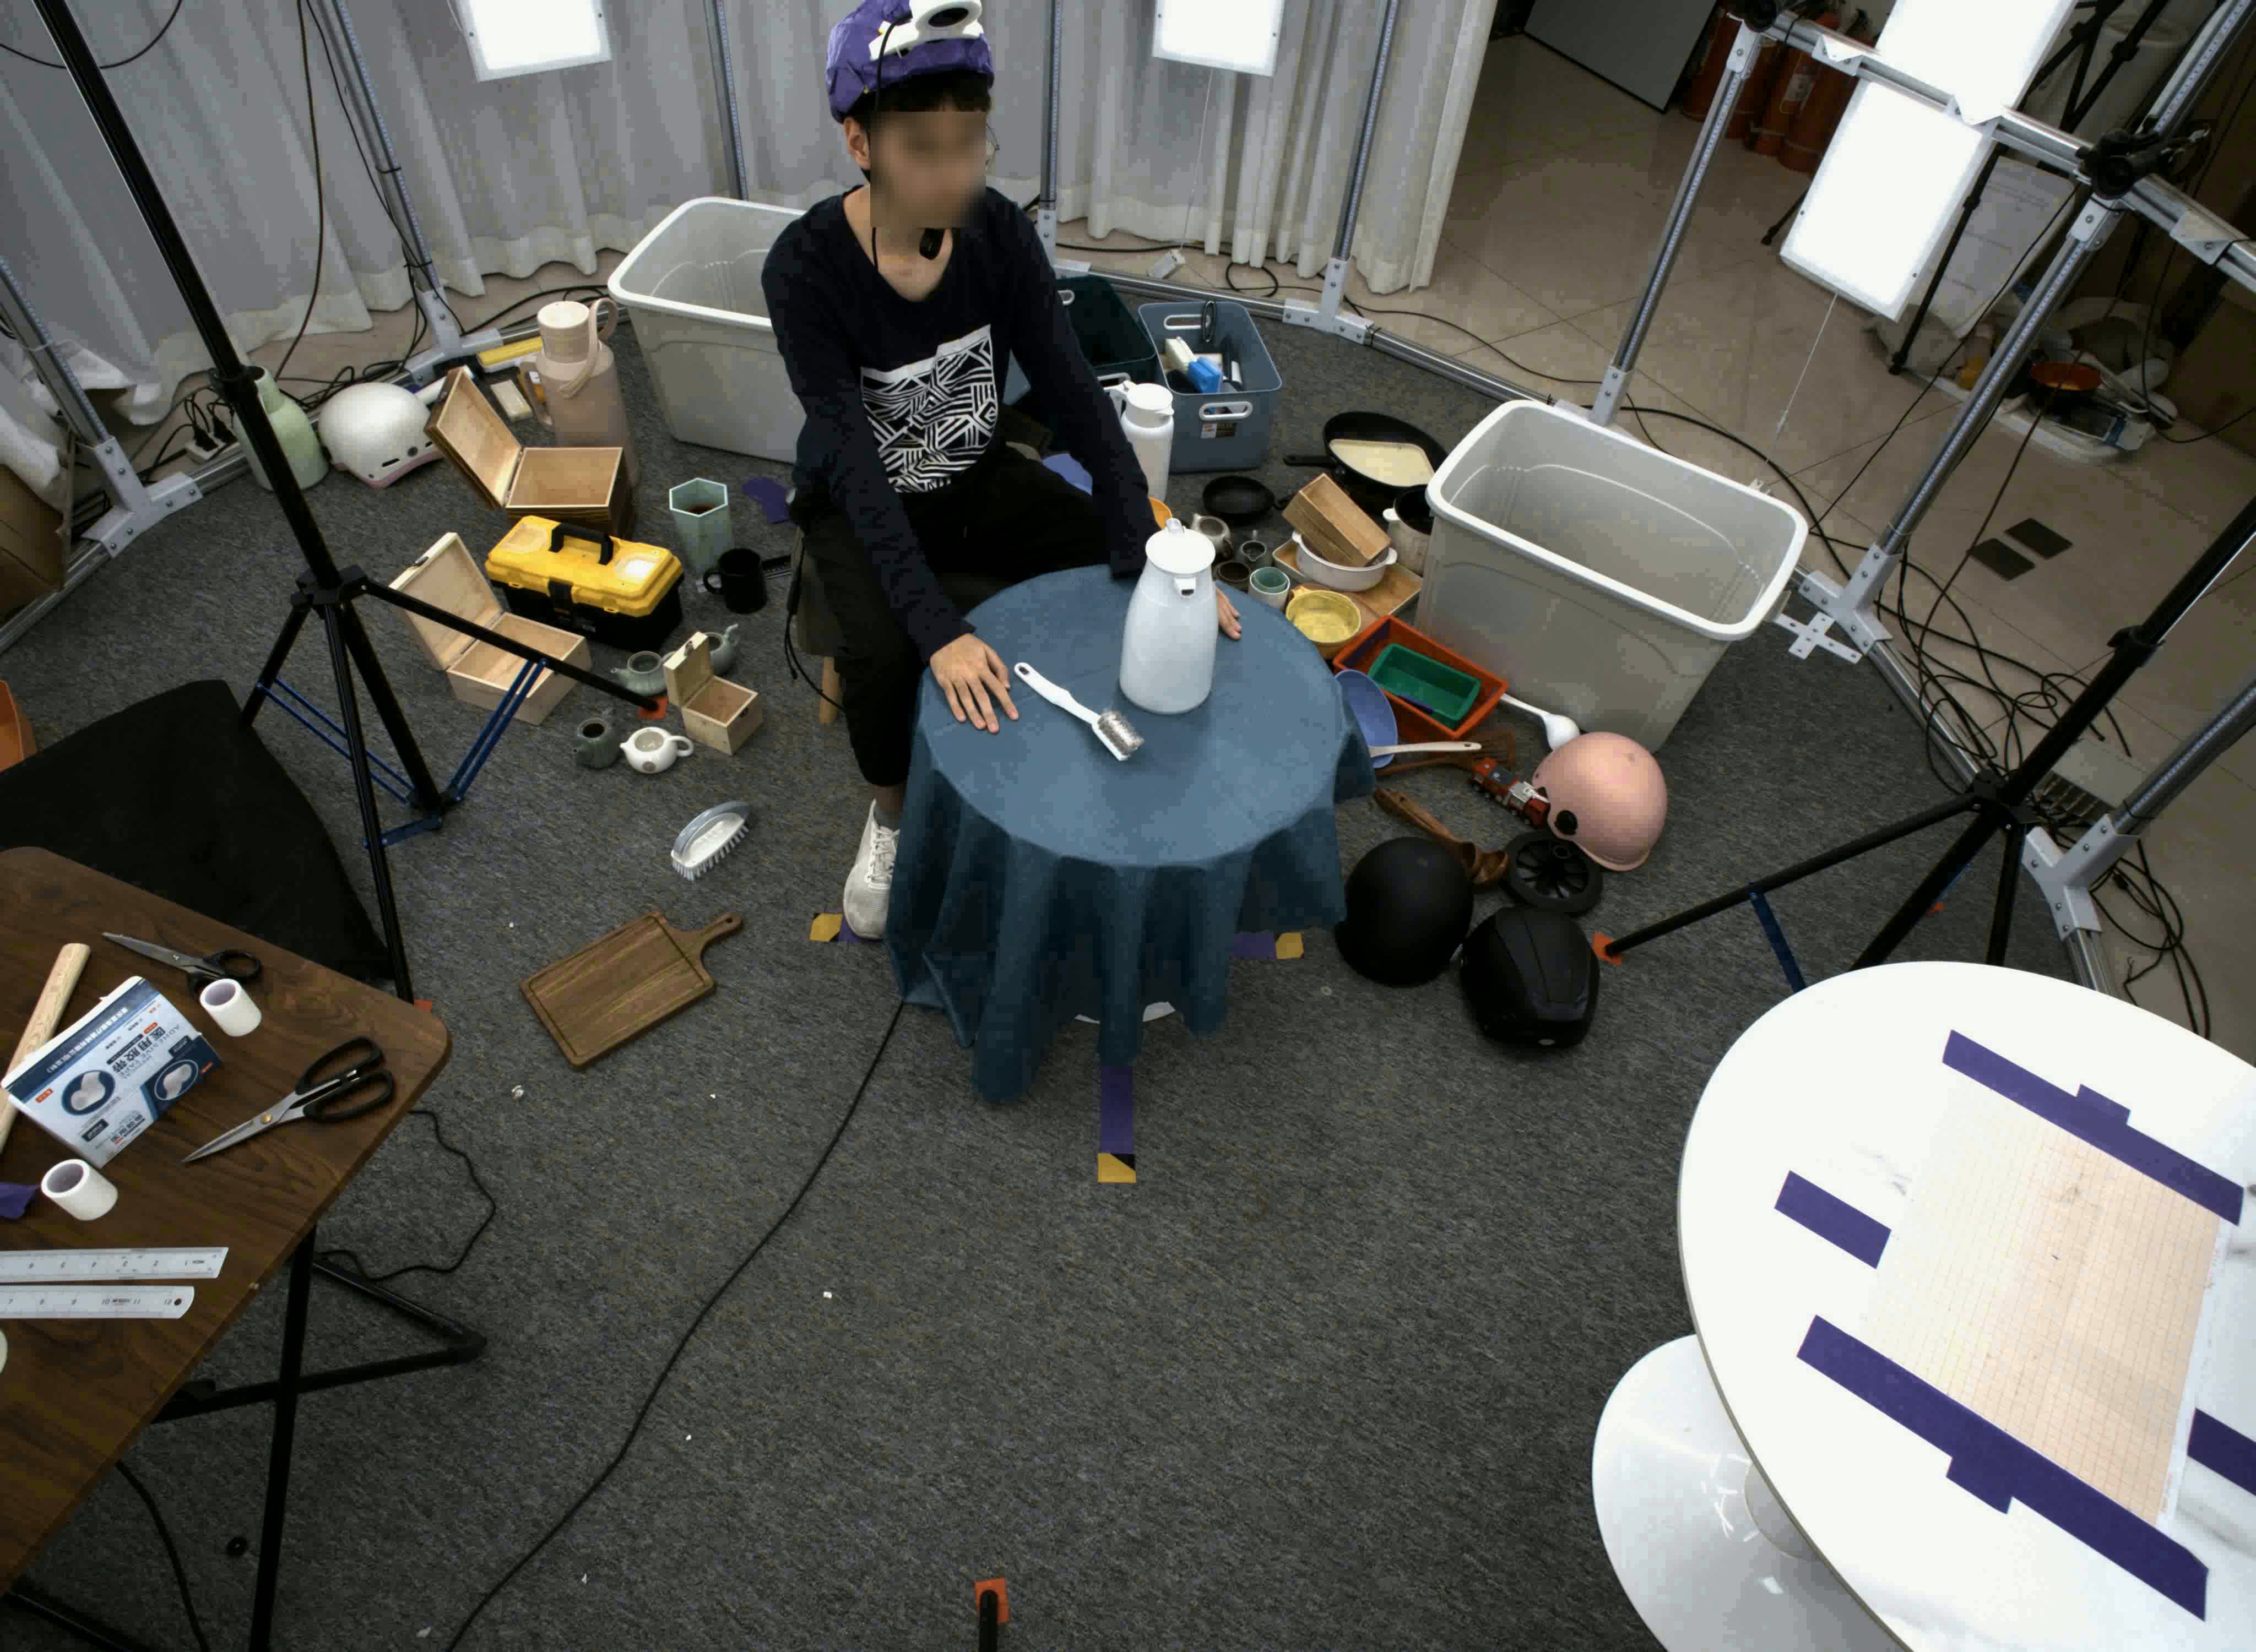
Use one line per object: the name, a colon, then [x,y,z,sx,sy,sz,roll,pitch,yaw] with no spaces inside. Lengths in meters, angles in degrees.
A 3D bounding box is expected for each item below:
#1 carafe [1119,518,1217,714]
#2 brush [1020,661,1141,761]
carafe: [0.055,-0.300,1.772,0.132,0.242,0.172,-6,49,-9]
brush: [-0.071,-0.174,1.783,0.034,0.049,0.248,-33,58,-23]
